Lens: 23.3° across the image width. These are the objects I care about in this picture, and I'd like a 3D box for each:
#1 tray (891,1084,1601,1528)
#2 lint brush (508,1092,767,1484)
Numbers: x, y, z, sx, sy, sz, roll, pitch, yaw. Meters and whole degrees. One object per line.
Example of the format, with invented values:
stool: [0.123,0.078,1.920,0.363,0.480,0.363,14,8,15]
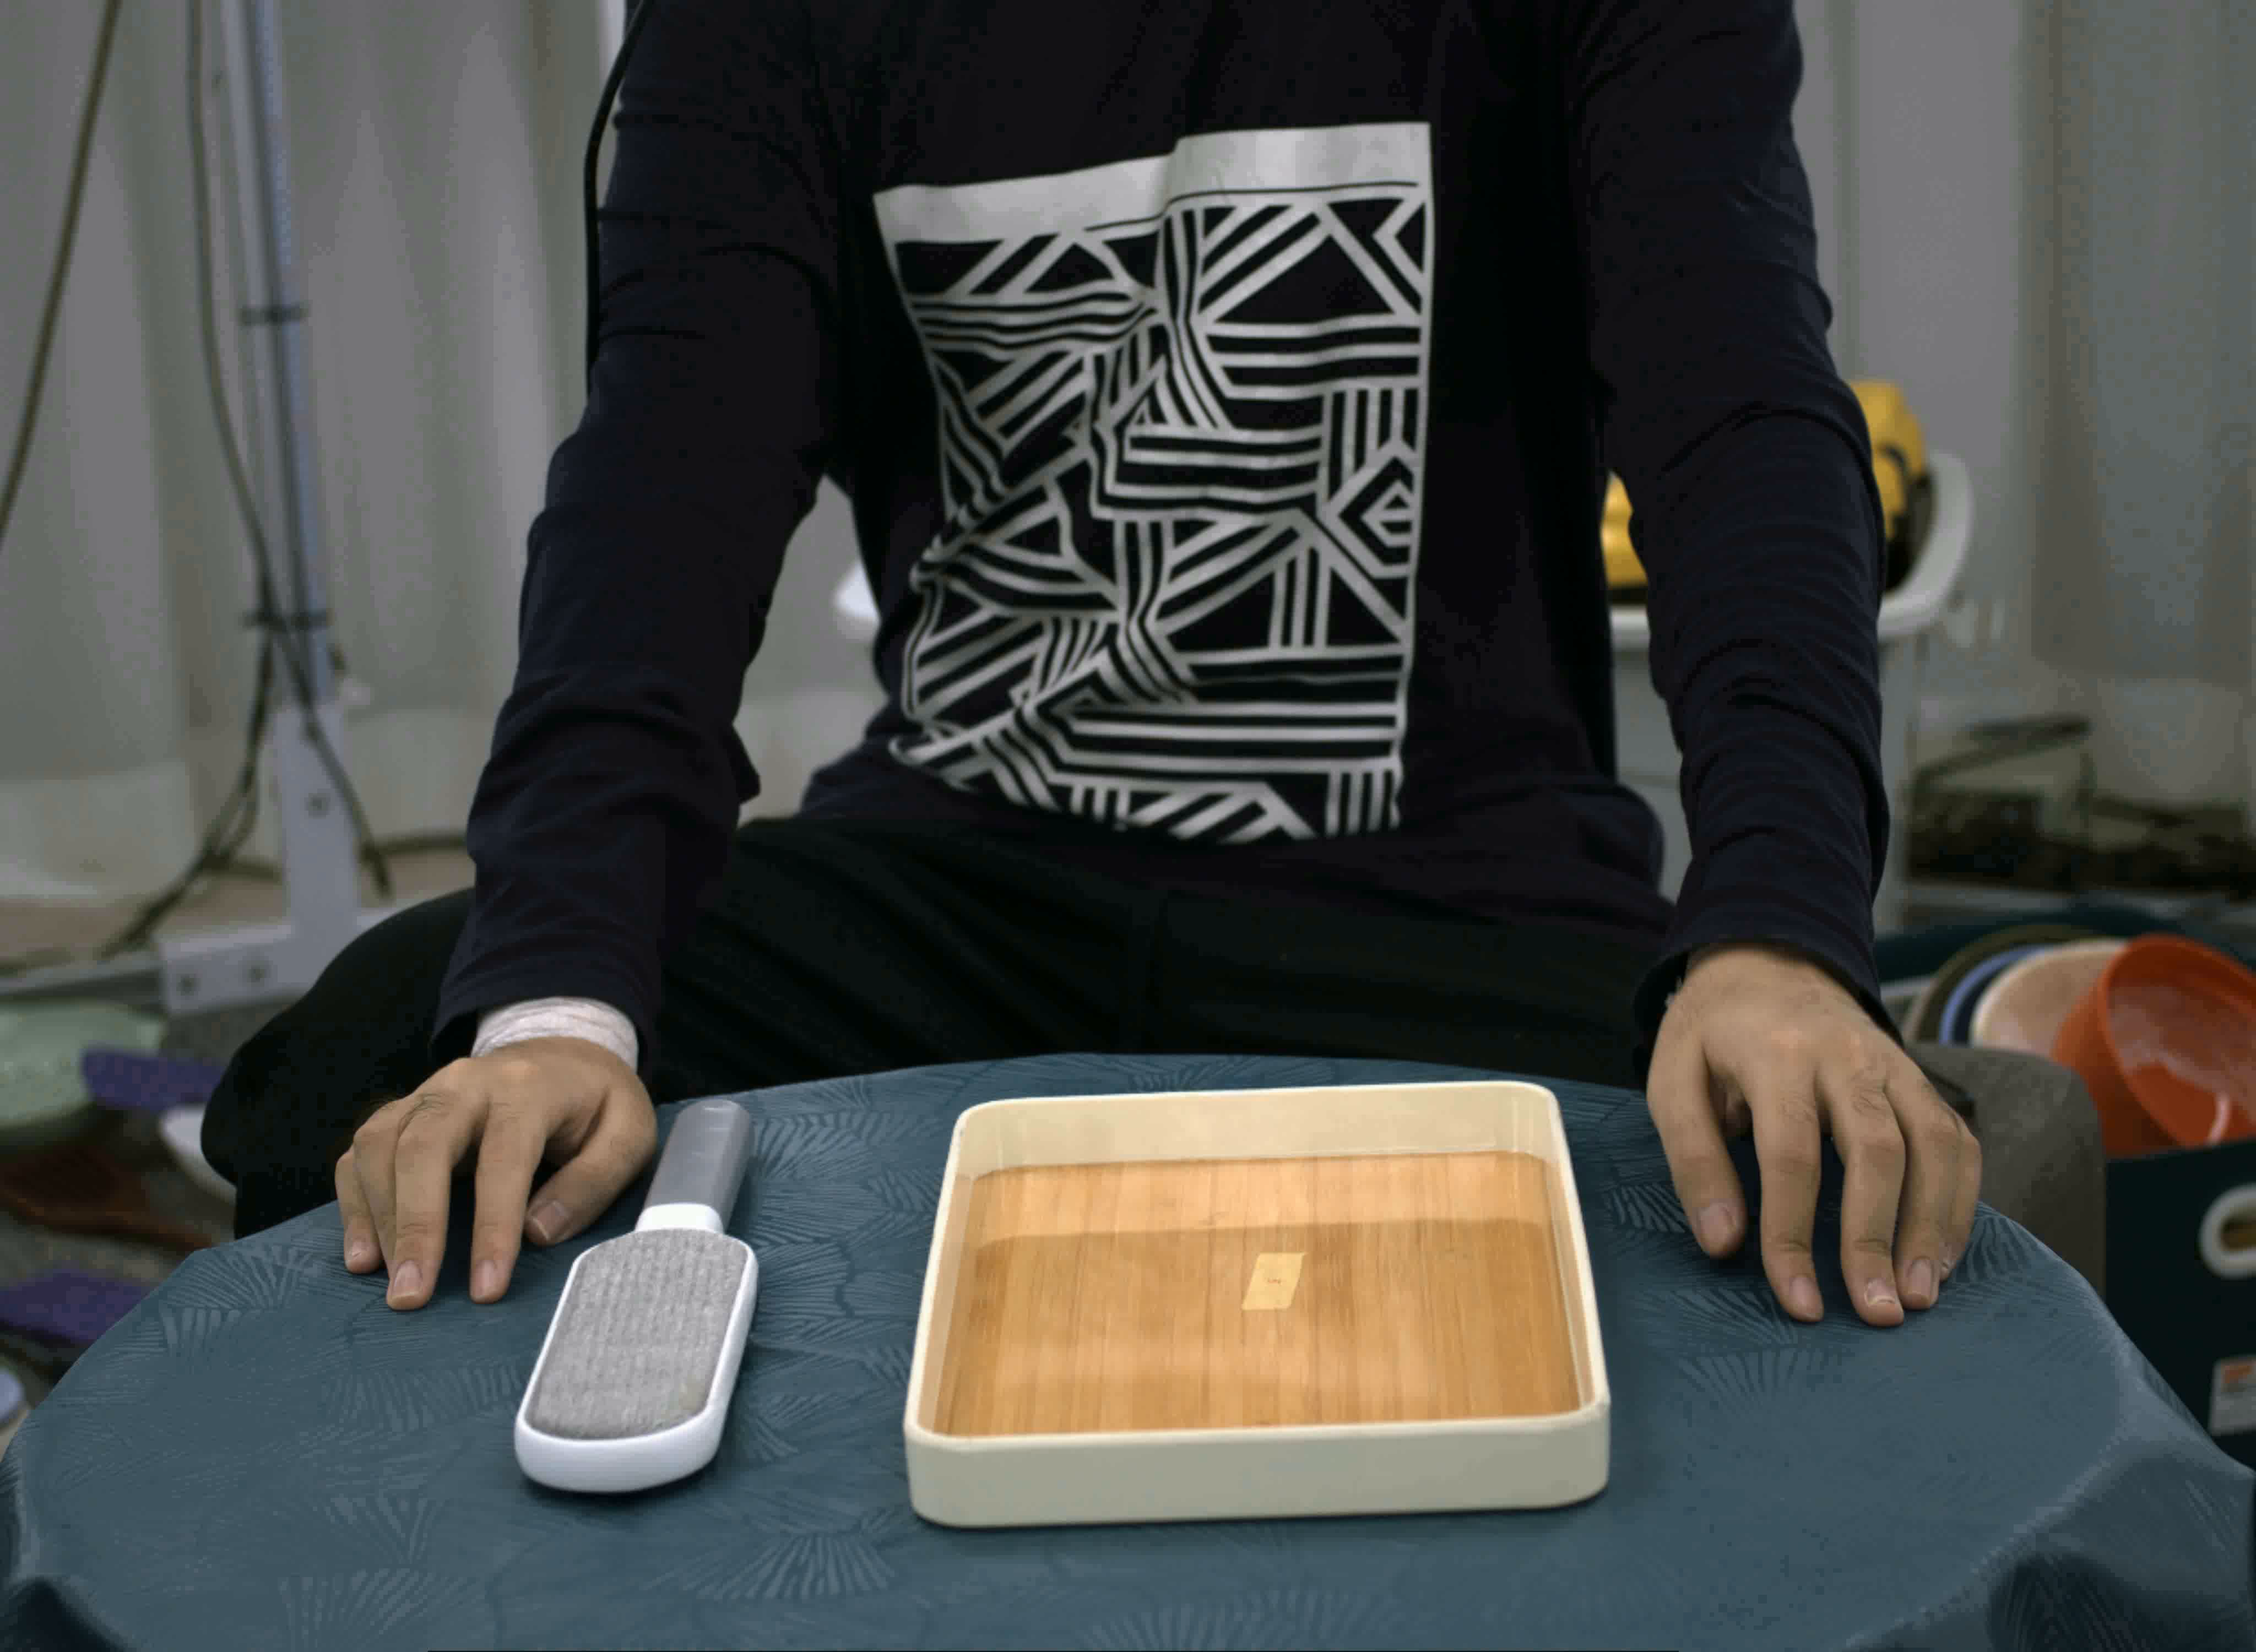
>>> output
tray: [0.036,0.134,1.586,0.191,0.027,0.302,-2,14,3]
lint brush: [-0.136,0.133,1.624,0.060,0.021,0.311,-8,14,4]
